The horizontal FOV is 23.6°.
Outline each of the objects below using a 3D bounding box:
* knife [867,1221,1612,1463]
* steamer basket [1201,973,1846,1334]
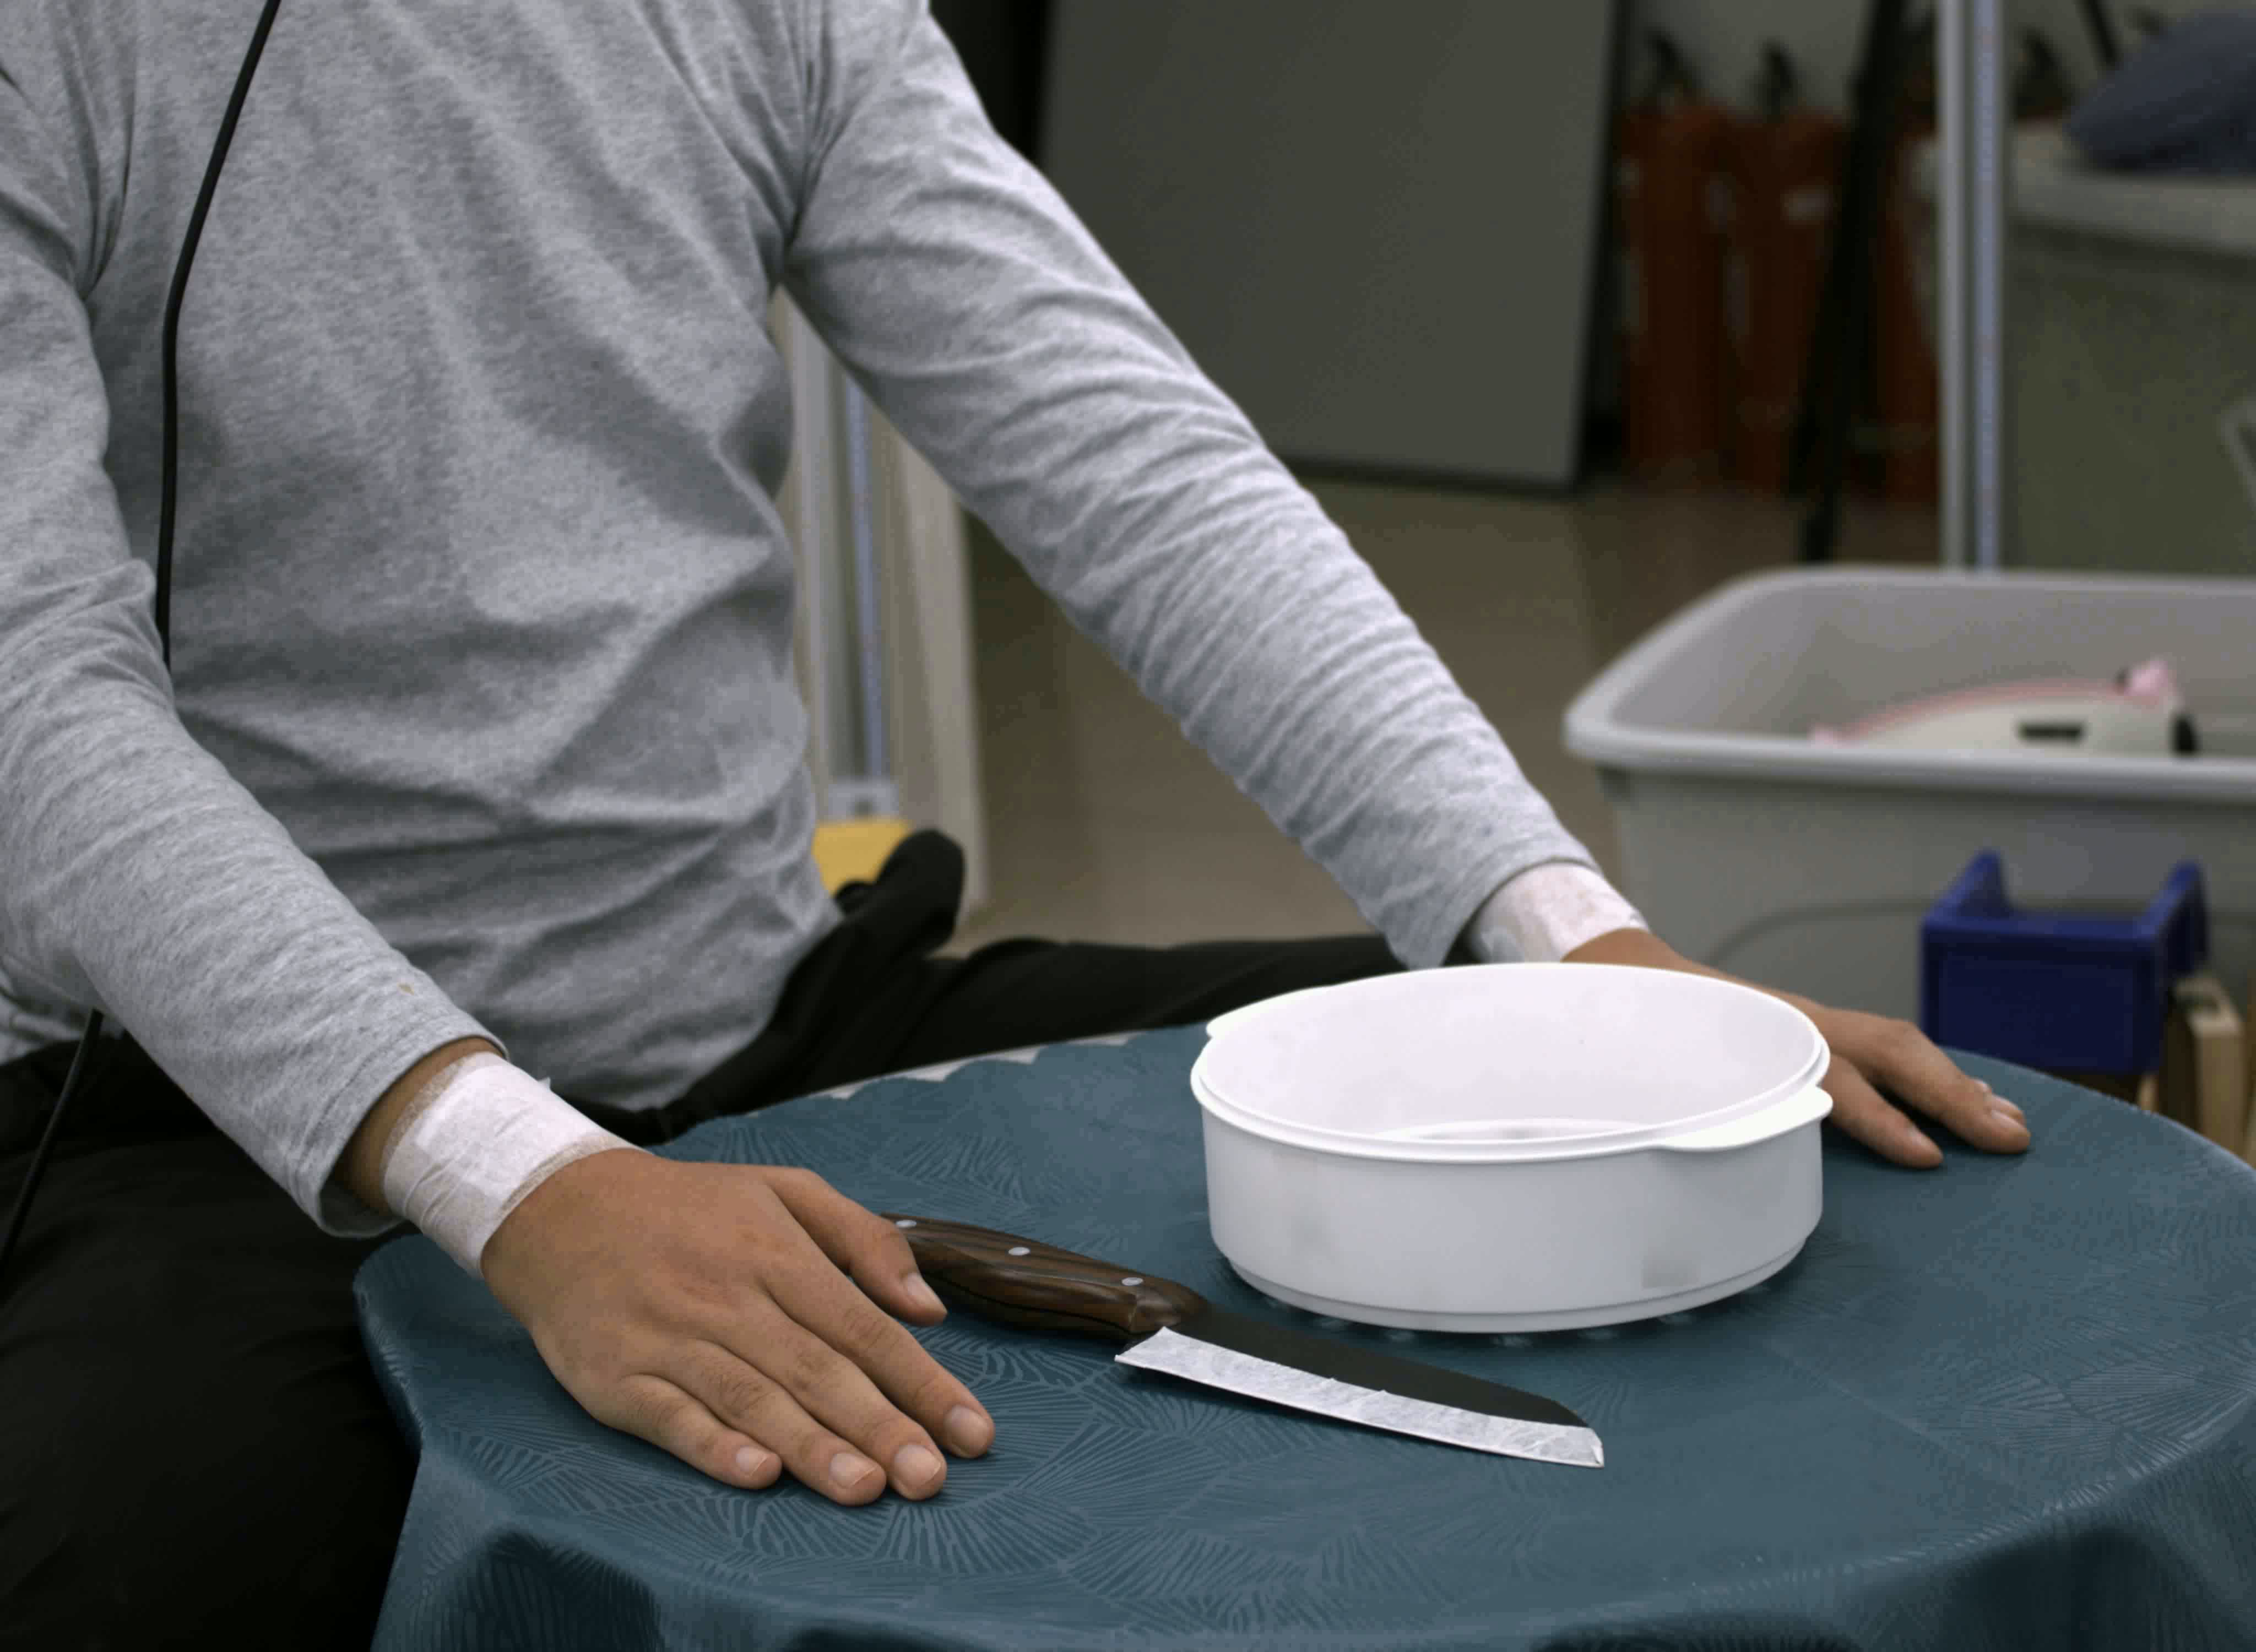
[{"bbox_3d":[0.028,0.154,1.597,0.291,0.020,0.049,11,25,41],"label":"knife"},{"bbox_3d":[0.123,0.102,1.678,0.197,0.070,0.233,-15,16,-40],"label":"steamer basket"}]
